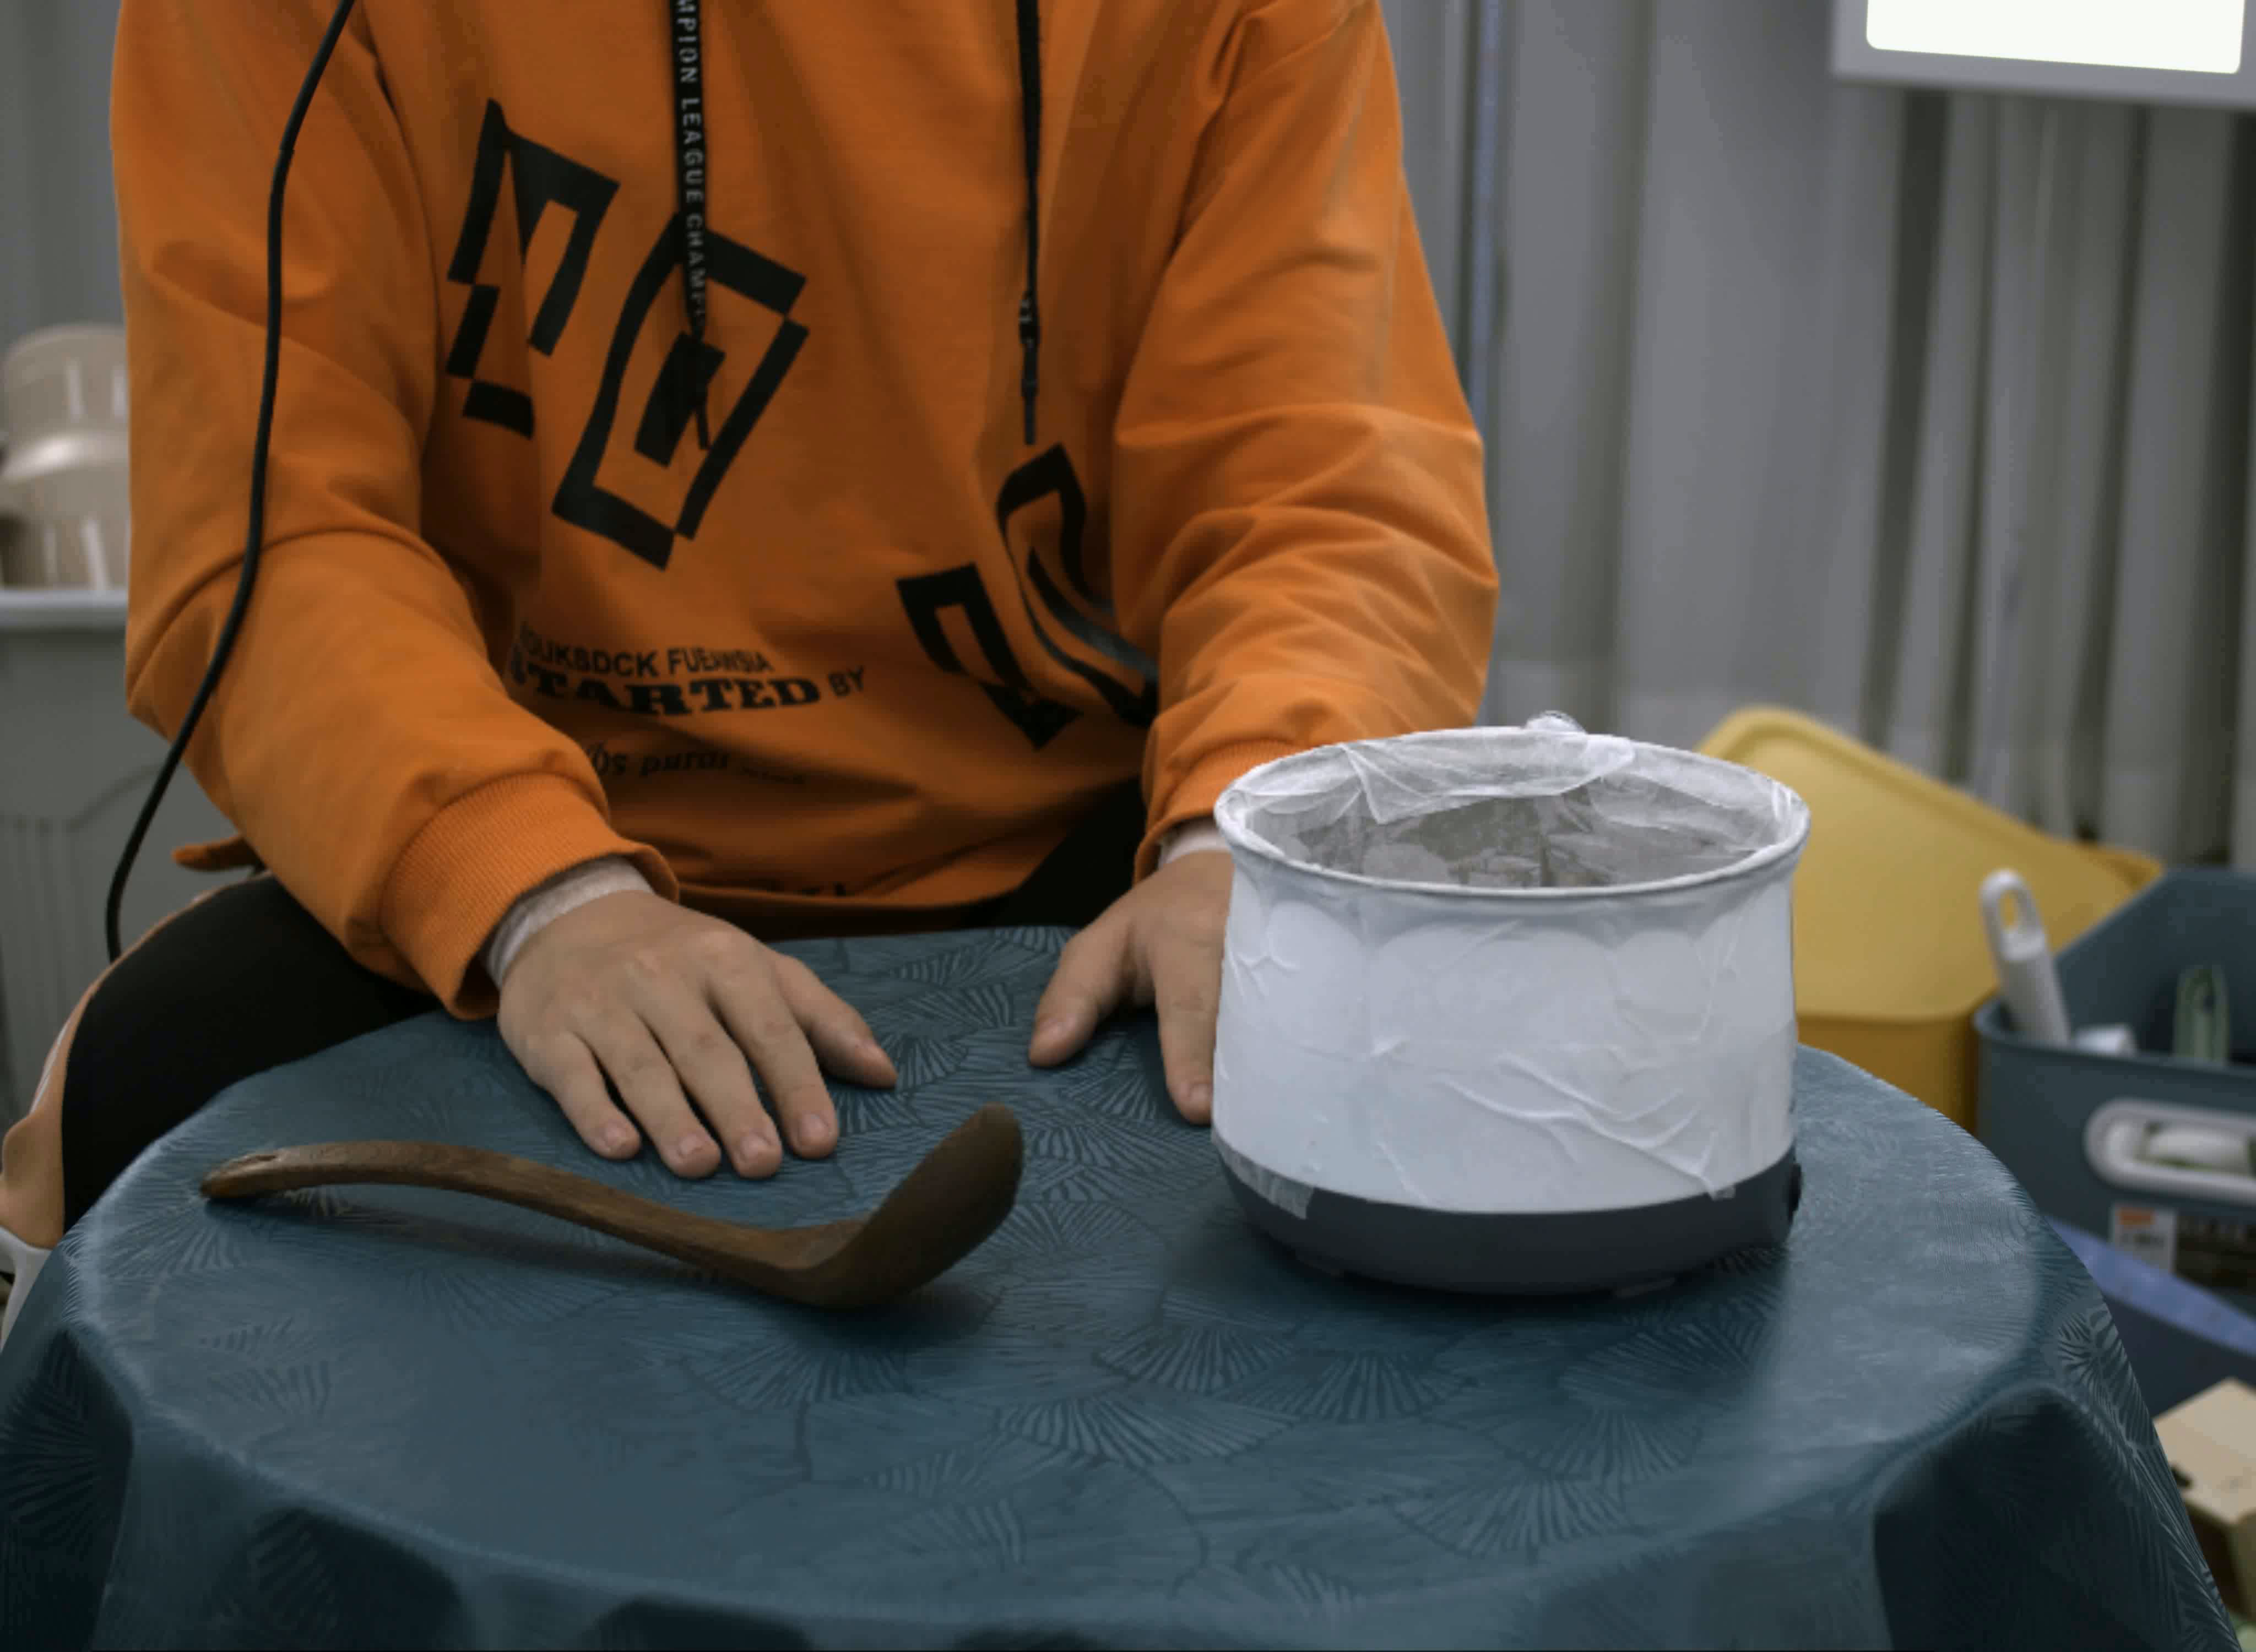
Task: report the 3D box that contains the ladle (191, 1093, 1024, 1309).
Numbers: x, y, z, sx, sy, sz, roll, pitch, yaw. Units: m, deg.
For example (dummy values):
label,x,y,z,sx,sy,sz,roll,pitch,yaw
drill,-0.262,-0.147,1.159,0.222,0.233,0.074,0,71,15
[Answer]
label,x,y,z,sx,sy,sz,roll,pitch,yaw
ladle,-0.158,0.095,1.551,0.271,0.072,0.076,8,14,24

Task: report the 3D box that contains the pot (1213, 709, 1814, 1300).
label,x,y,z,sx,sy,sz,roll,pitch,yaw
pot,0.118,0.048,1.601,0.177,0.138,0.233,3,16,9
